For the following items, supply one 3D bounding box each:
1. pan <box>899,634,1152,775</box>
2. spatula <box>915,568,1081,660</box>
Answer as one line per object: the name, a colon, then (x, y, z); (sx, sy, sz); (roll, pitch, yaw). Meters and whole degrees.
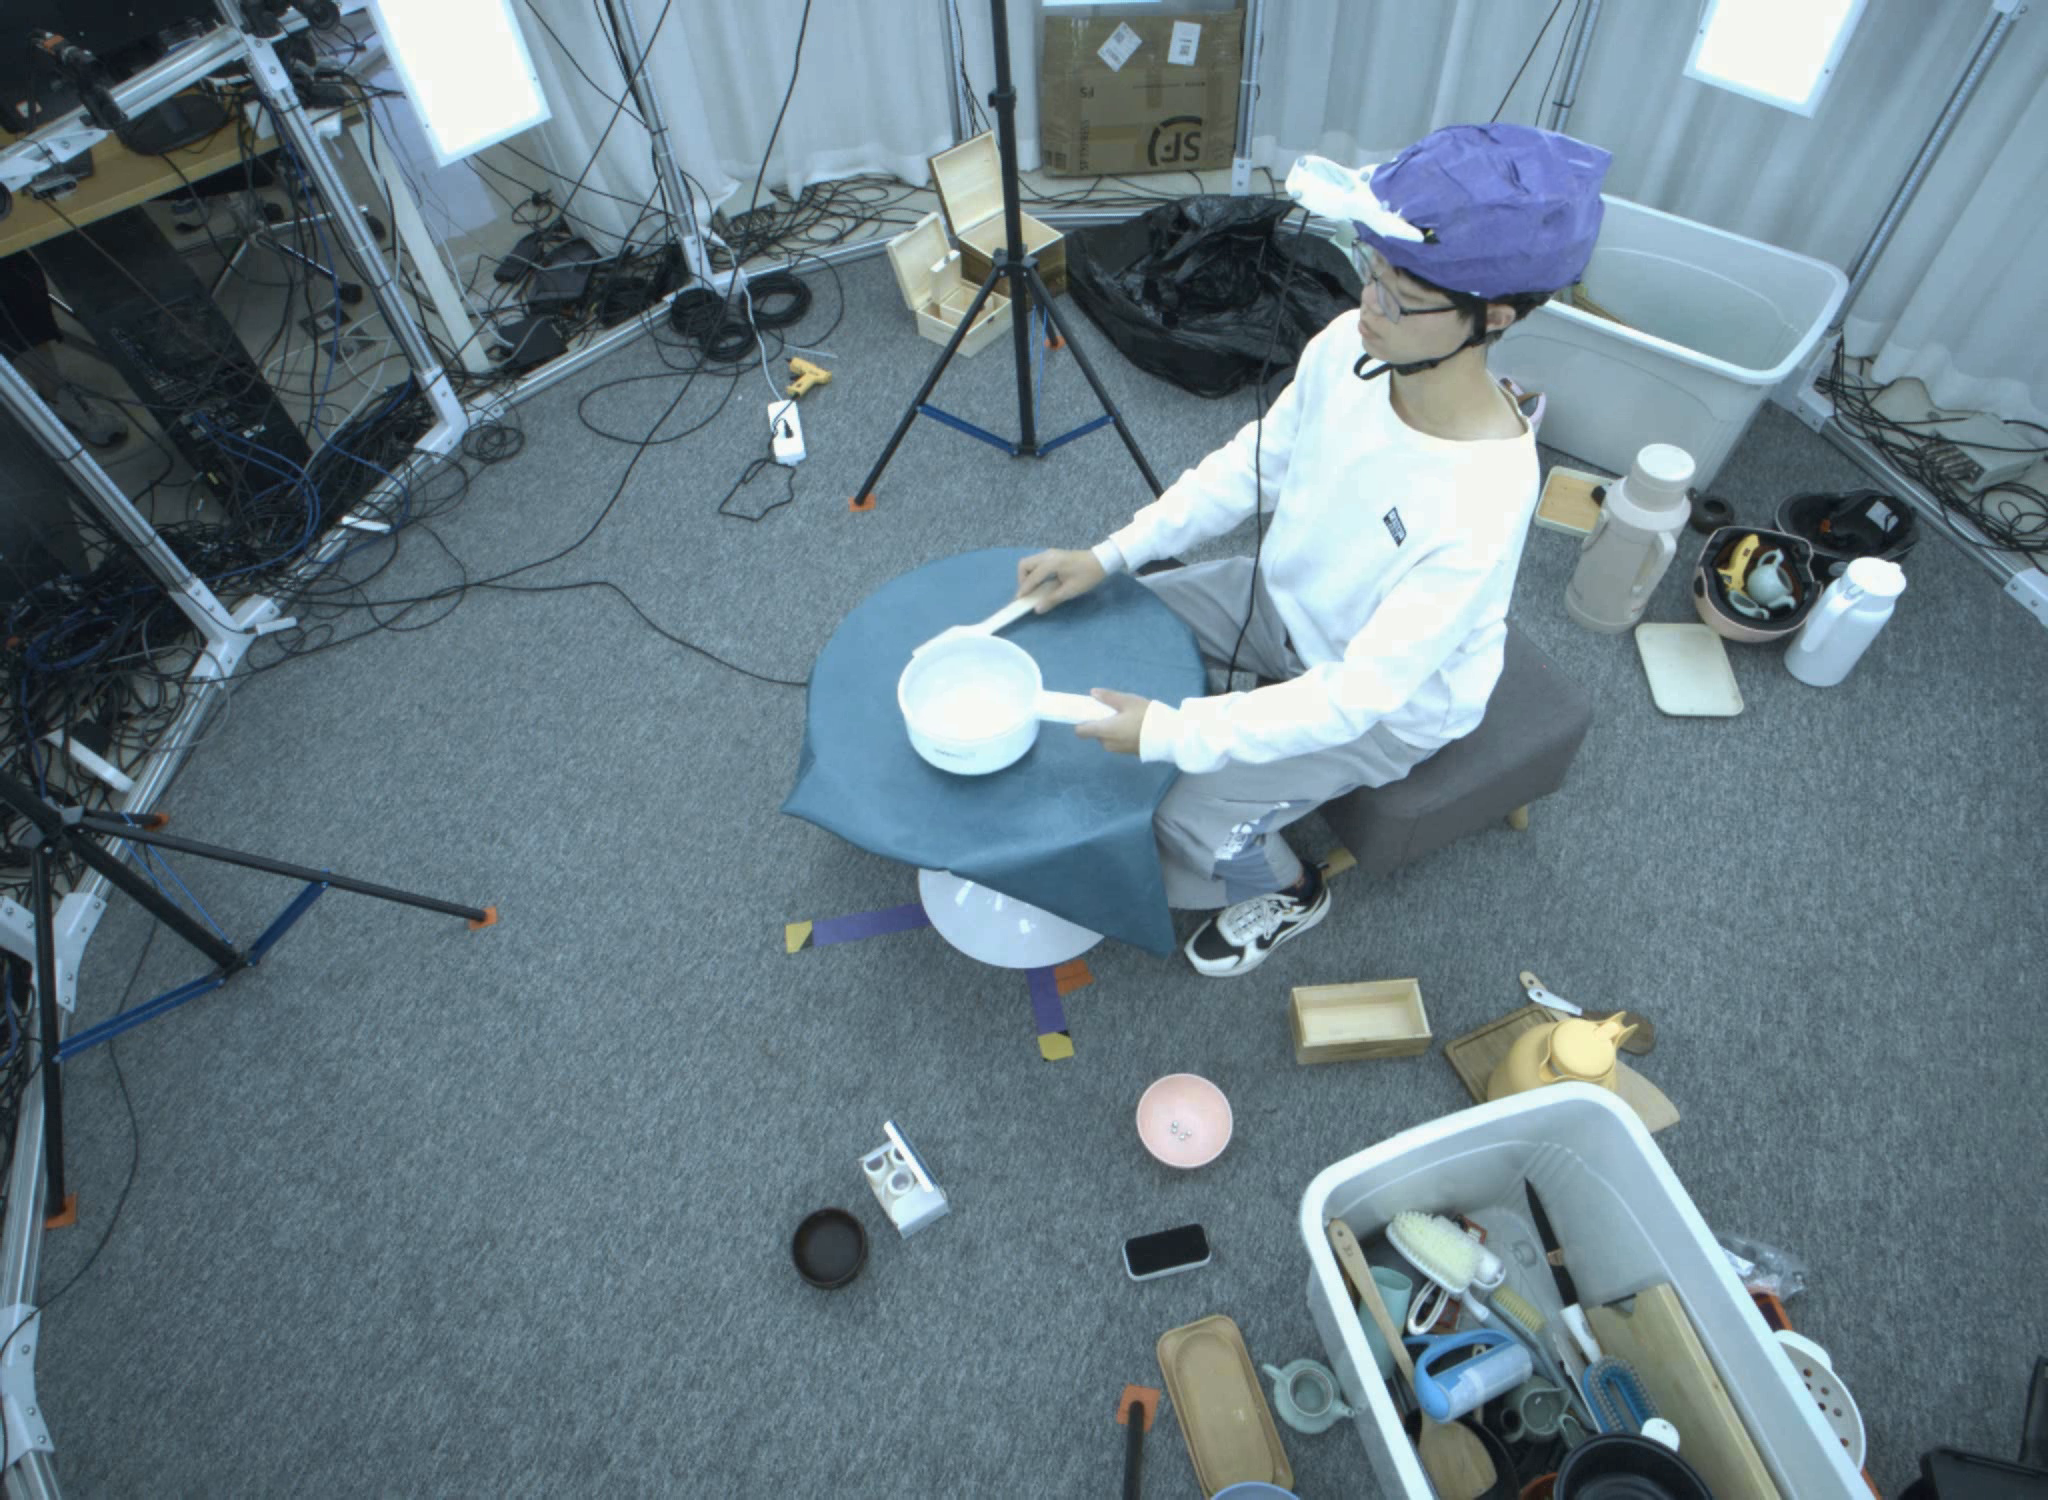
pan: (0.001, -0.048, 1.744); (0.353, 0.103, 0.200); (9, 53, 5)
spatula: (-0.033, -0.206, 1.910); (0.295, 0.011, 0.071); (-34, 64, -16)
